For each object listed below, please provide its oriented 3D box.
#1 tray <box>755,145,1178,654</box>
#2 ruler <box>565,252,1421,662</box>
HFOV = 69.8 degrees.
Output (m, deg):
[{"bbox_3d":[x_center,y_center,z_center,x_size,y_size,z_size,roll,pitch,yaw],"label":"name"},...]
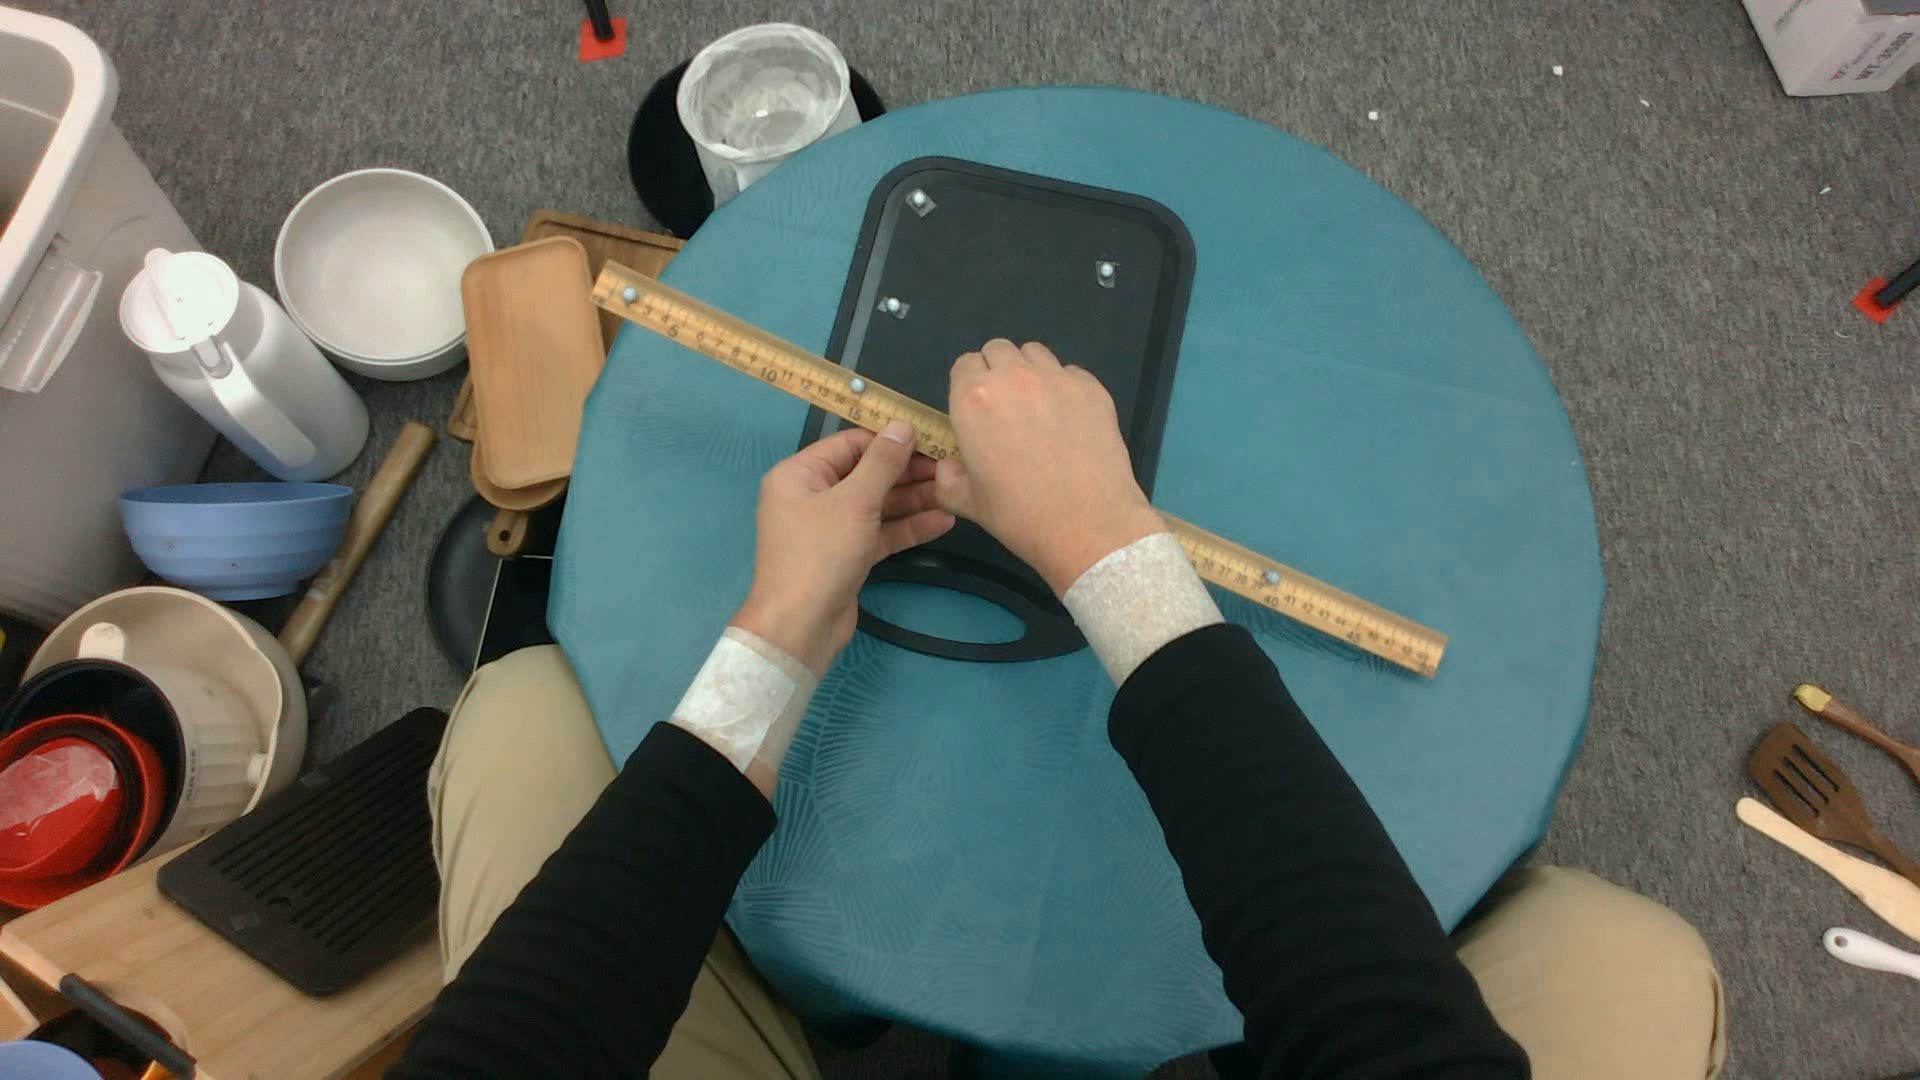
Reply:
[{"bbox_3d":[0.008,-0.090,0.820,0.211,0.010,0.326,13,70,3],"label":"tray"},{"bbox_3d":[0.024,-0.041,0.745,0.500,0.006,0.027,24,86,-5],"label":"ruler"}]
